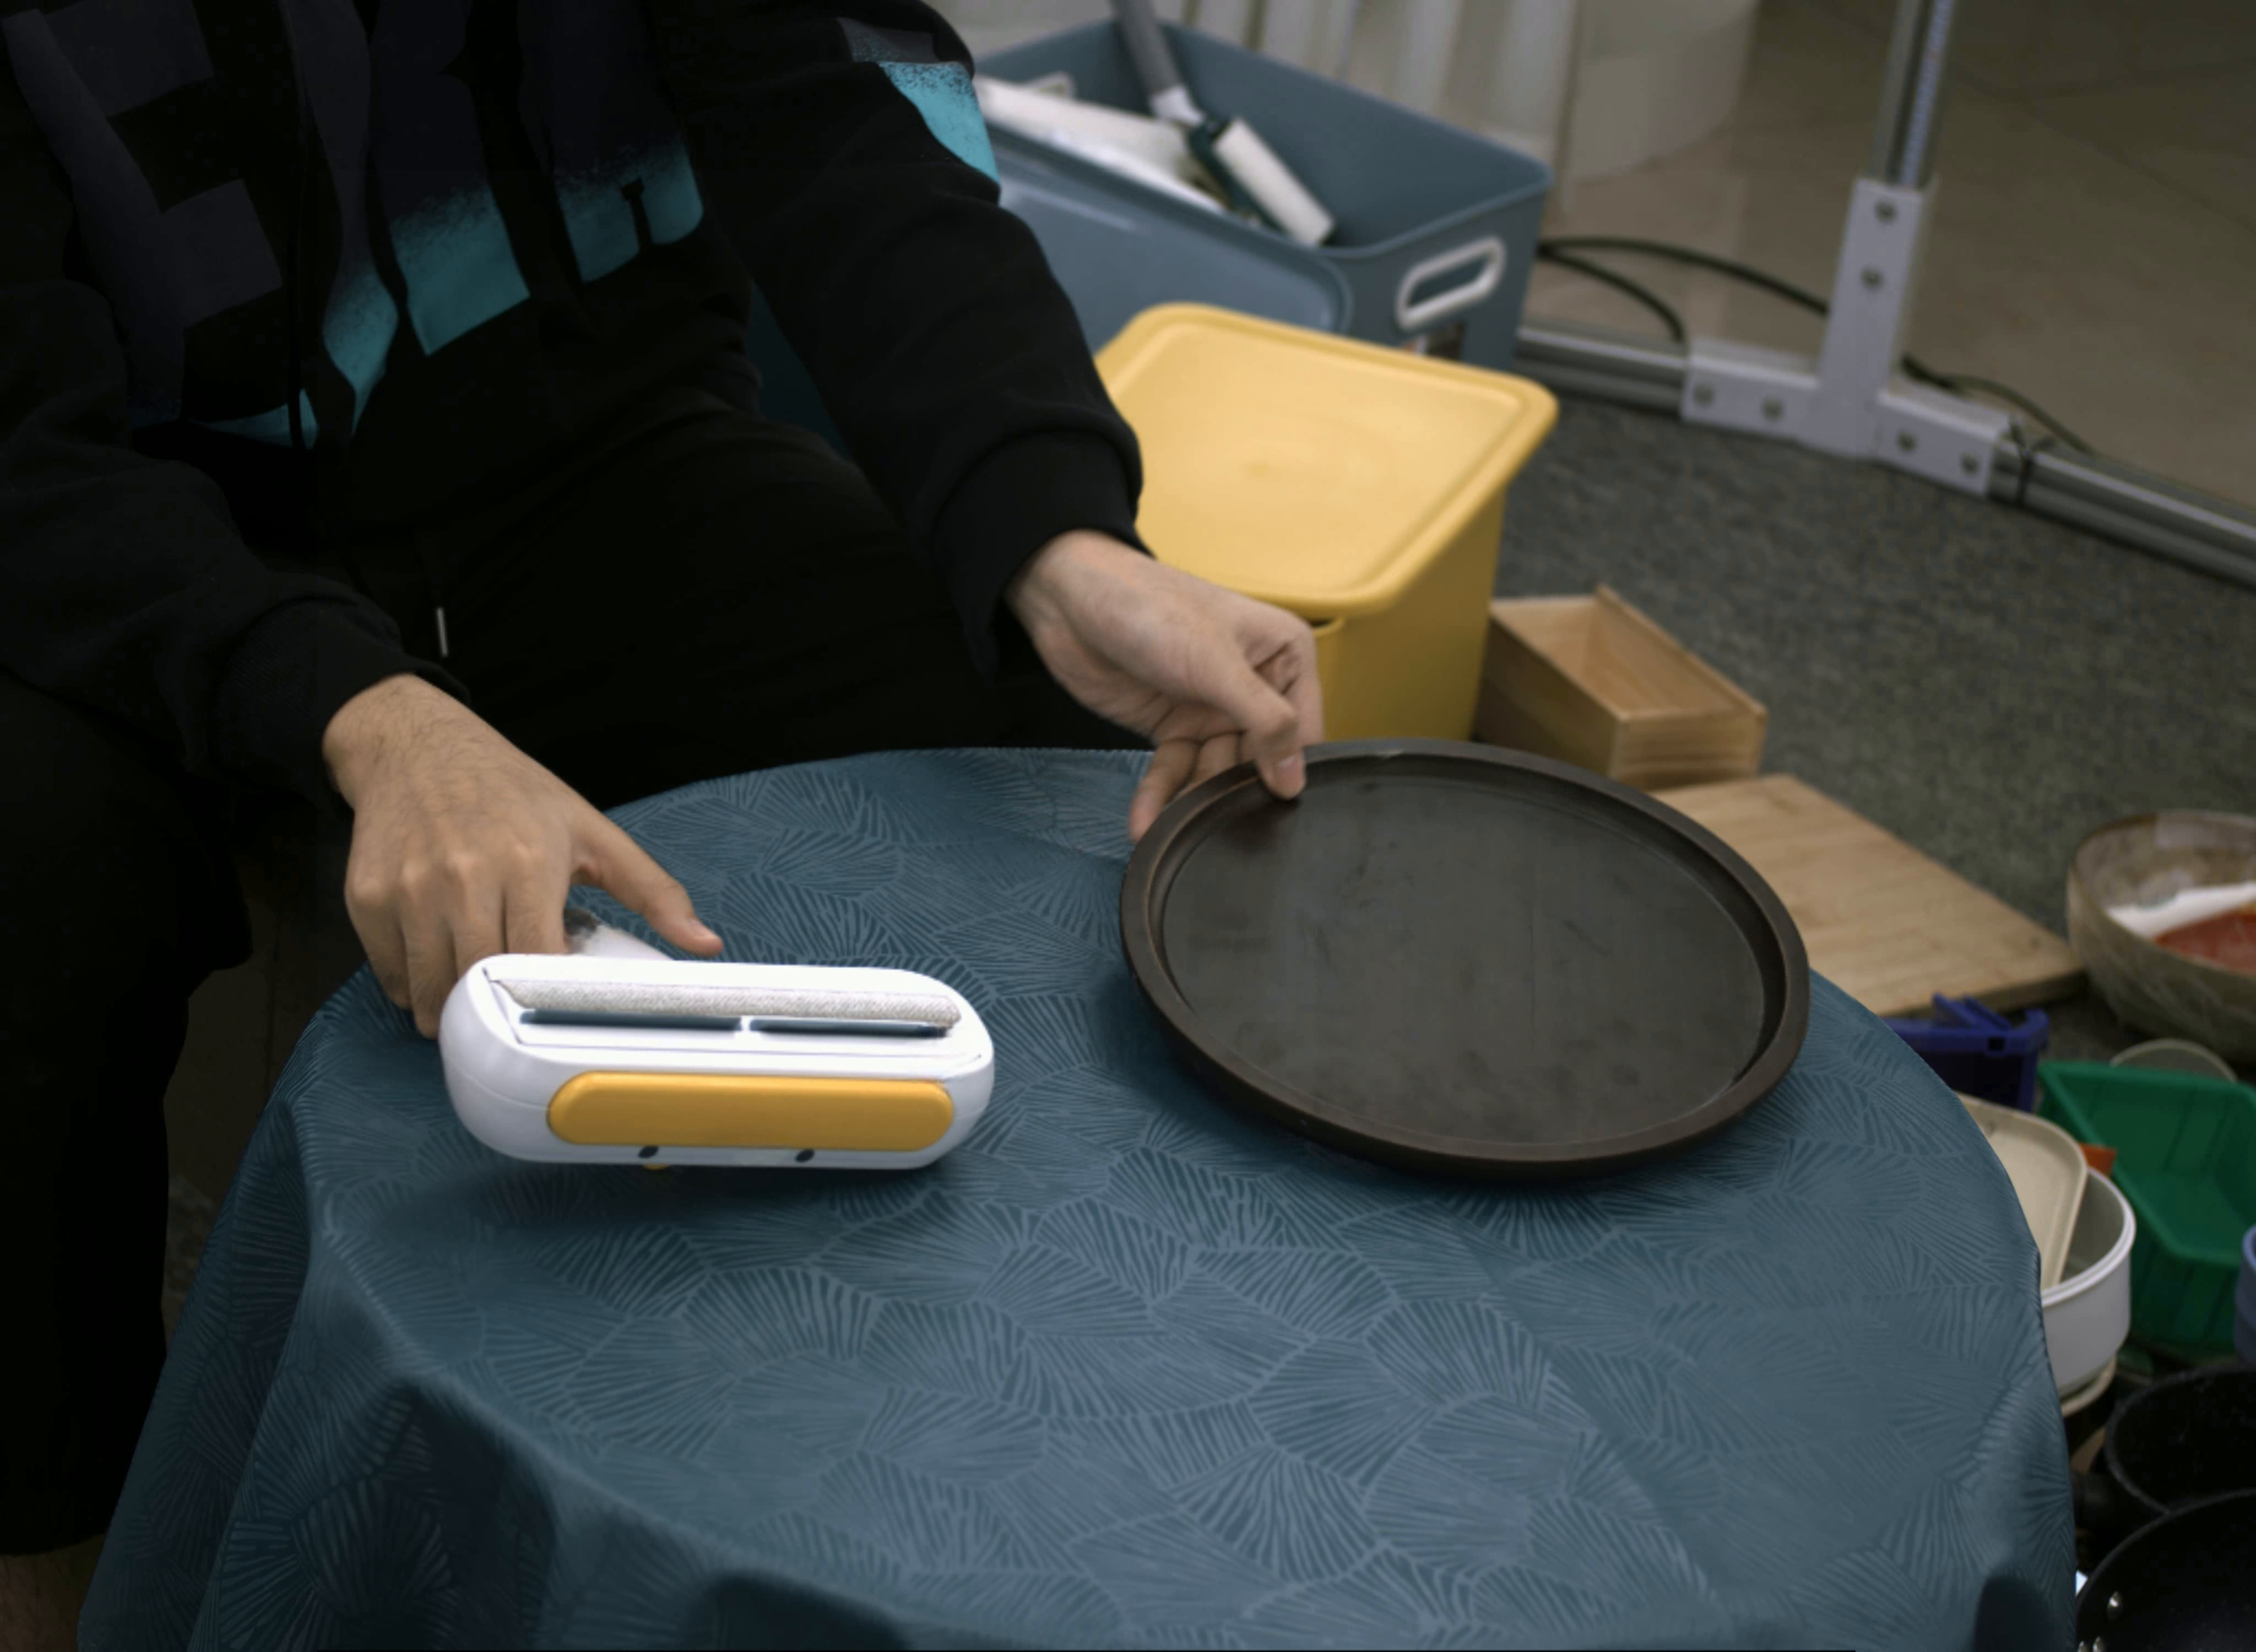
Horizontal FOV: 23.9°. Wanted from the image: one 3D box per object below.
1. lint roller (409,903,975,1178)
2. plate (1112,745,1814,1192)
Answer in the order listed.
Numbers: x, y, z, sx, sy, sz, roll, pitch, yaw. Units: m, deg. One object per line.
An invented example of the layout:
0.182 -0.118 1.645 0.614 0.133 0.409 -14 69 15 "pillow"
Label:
-0.165 0.060 1.813 0.191 0.074 0.194 1 25 -23 "lint roller"
0.120 0.050 1.915 0.254 0.029 0.256 4 33 -3 "plate"
